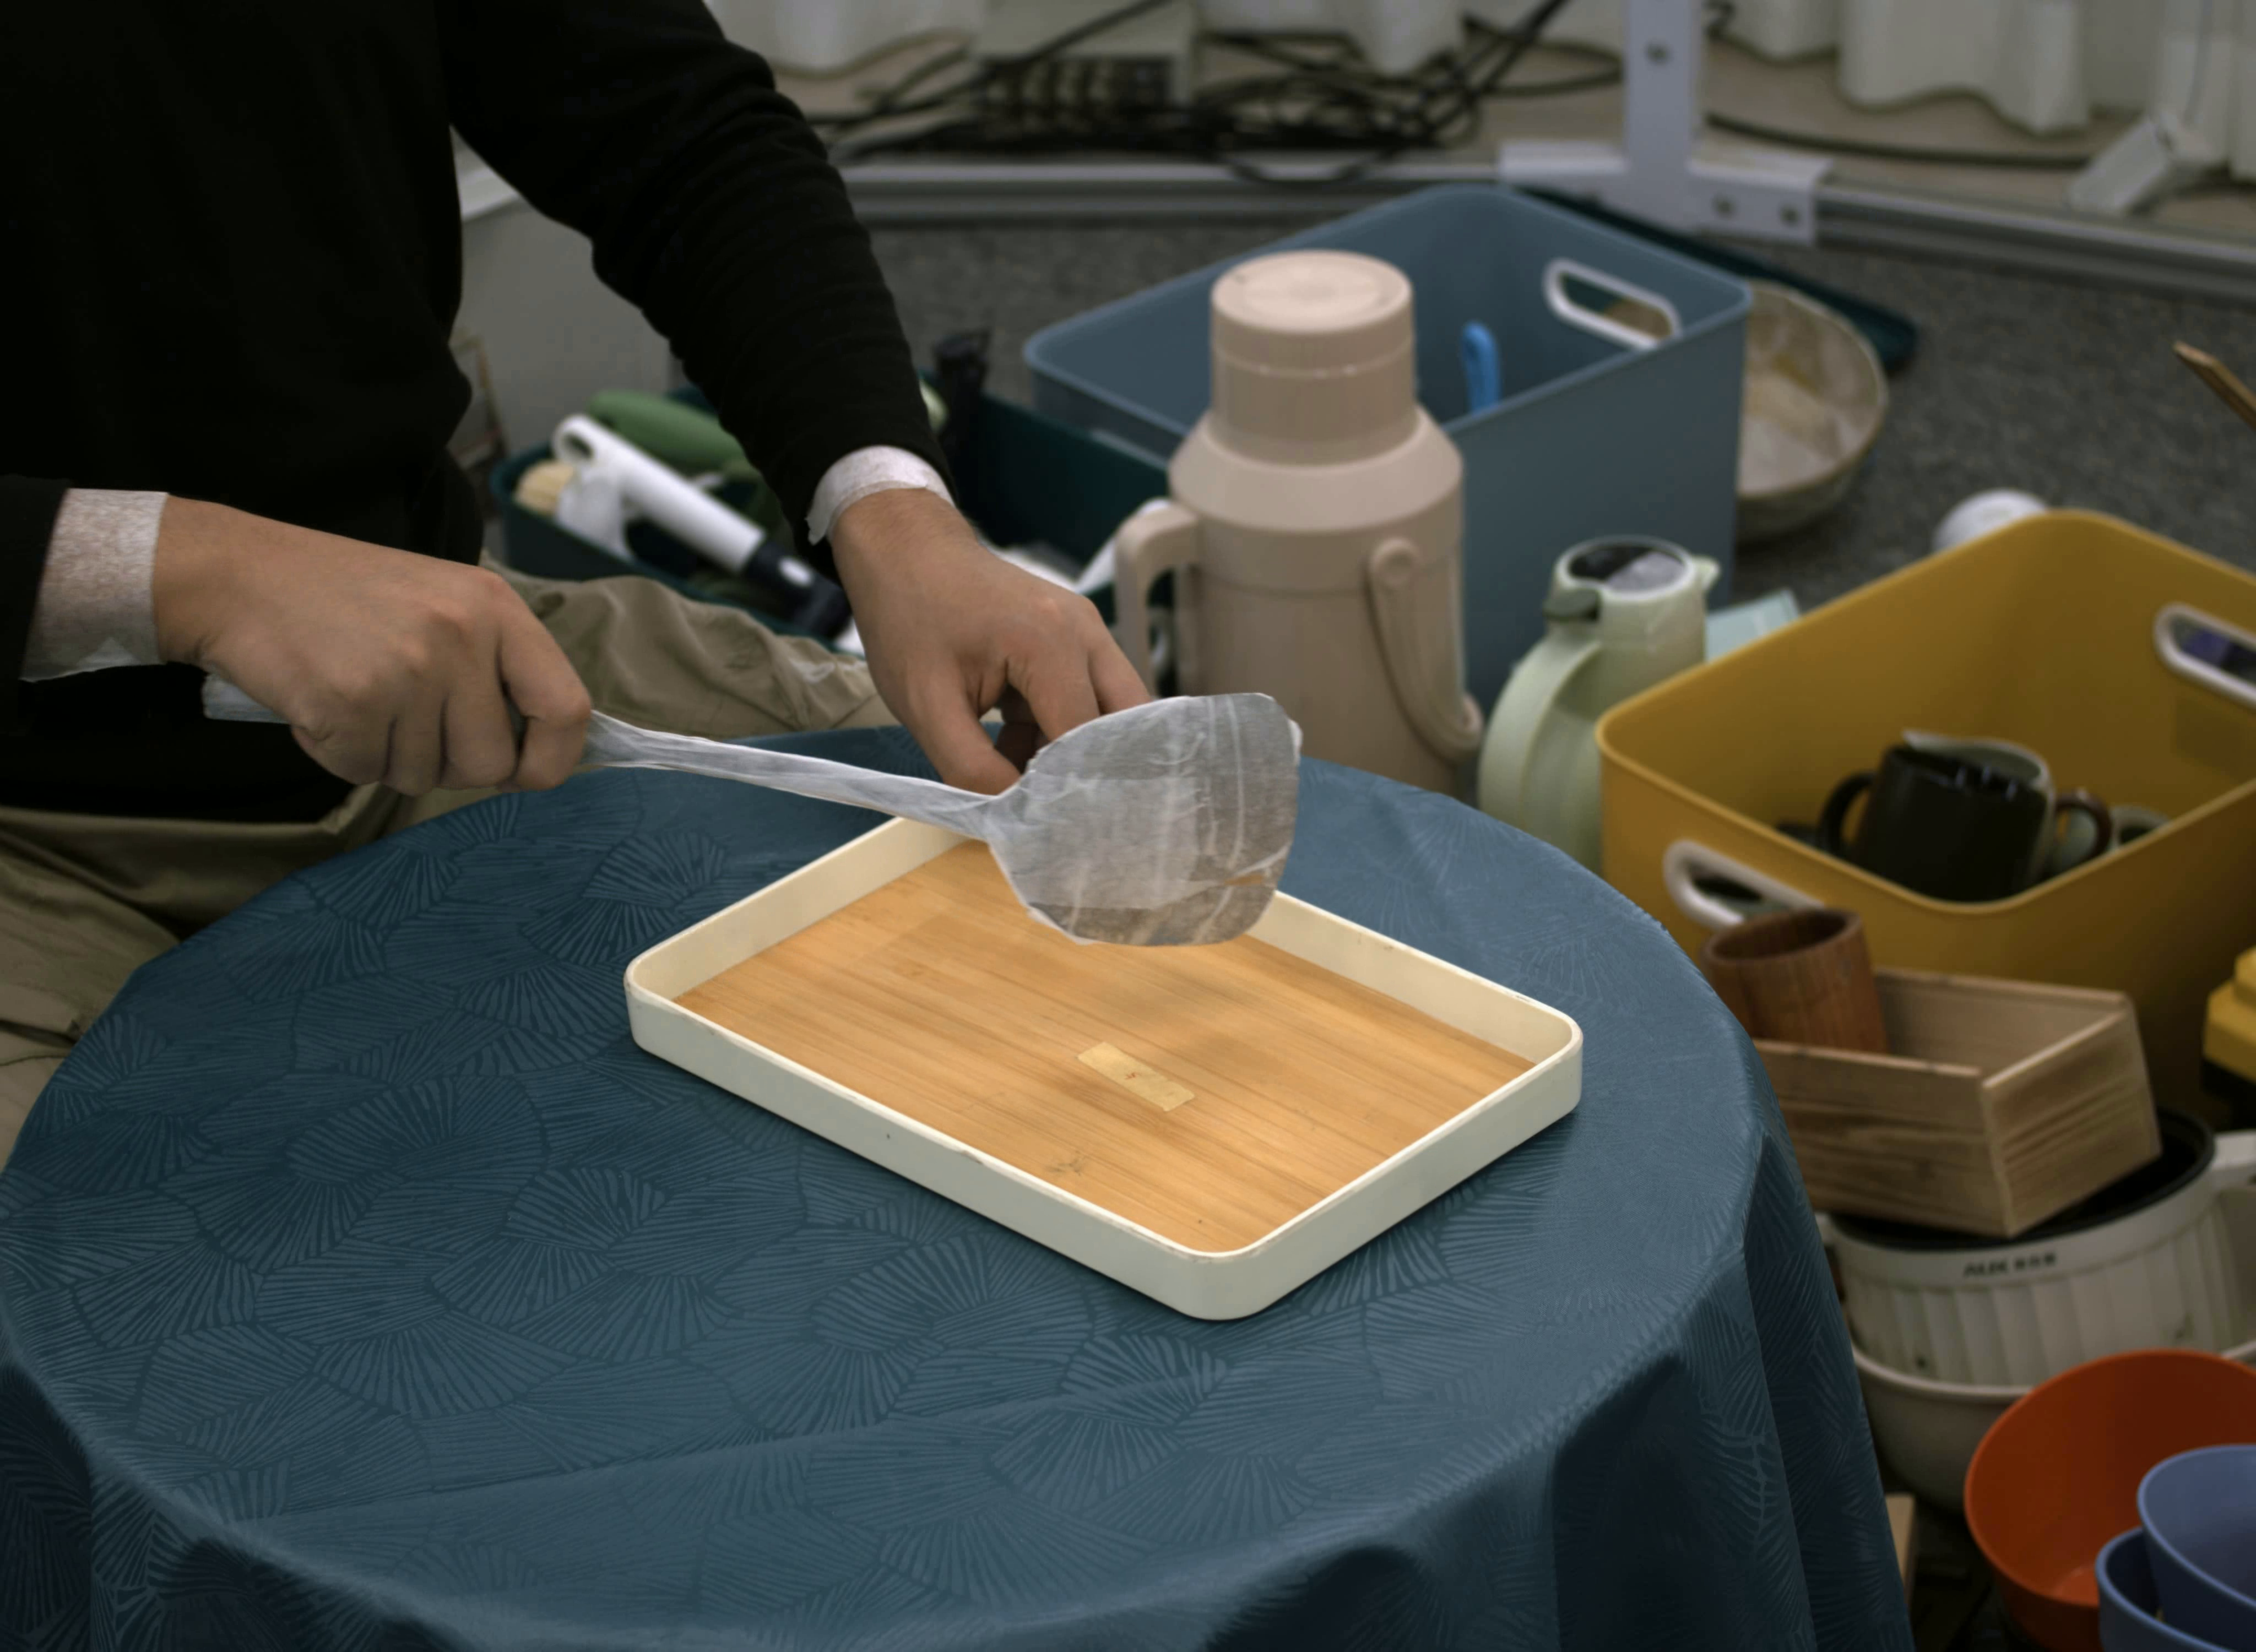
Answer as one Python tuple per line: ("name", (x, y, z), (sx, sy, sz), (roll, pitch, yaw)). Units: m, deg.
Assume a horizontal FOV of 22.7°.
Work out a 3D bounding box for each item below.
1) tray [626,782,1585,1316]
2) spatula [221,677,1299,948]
("tray", (-0.010, 0.071, 1.926), (0.300, 0.027, 0.194), (22, 38, 40))
("spatula", (-0.124, -0.021, 1.905), (0.363, 0.097, 0.045), (9, 27, 2))
